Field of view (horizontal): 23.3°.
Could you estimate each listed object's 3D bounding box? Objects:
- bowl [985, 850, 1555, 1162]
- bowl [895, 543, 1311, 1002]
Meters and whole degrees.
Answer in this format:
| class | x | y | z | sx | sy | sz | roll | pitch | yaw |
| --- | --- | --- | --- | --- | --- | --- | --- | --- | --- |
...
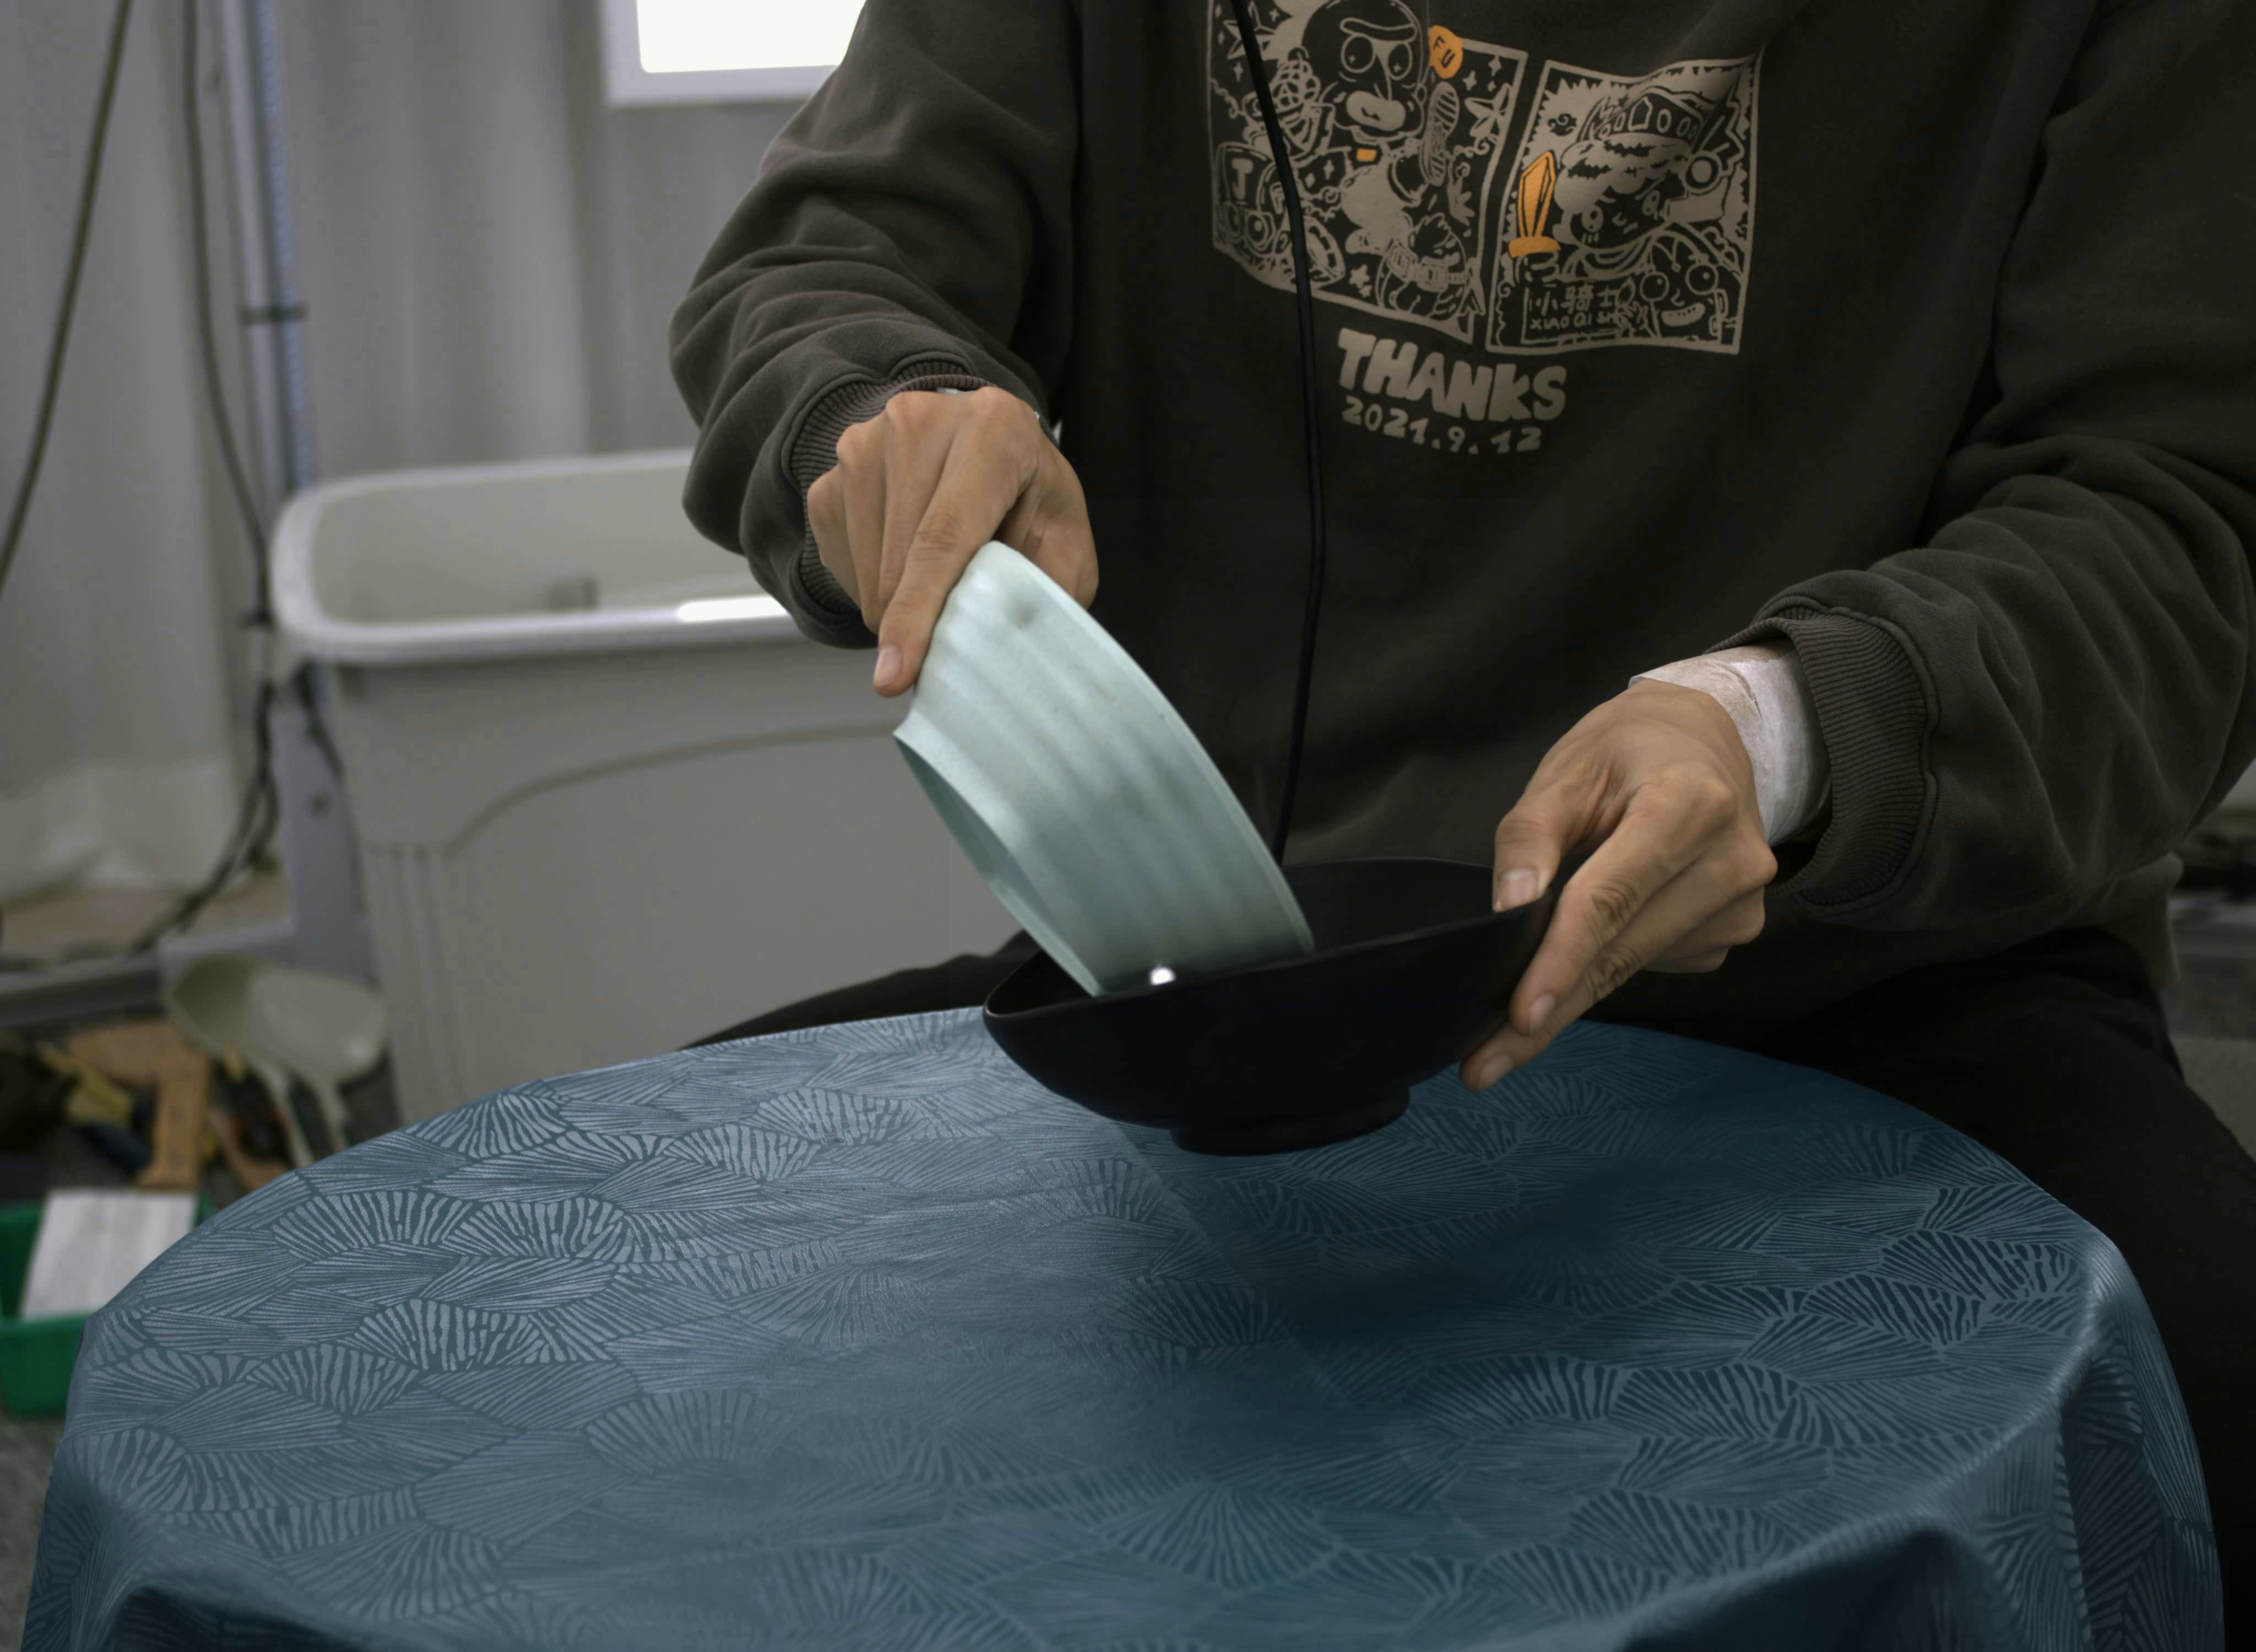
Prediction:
| class | x | y | z | sx | sy | sz | roll | pitch | yaw |
| --- | --- | --- | --- | --- | --- | --- | --- | --- | --- |
| bowl | 0.045 | 0.057 | 1.591 | 0.170 | 0.066 | 0.138 | -11 | 10 | -4 |
| bowl | -0.016 | -0.005 | 1.573 | 0.058 | 0.150 | 0.152 | -37 | 21 | -6 |
